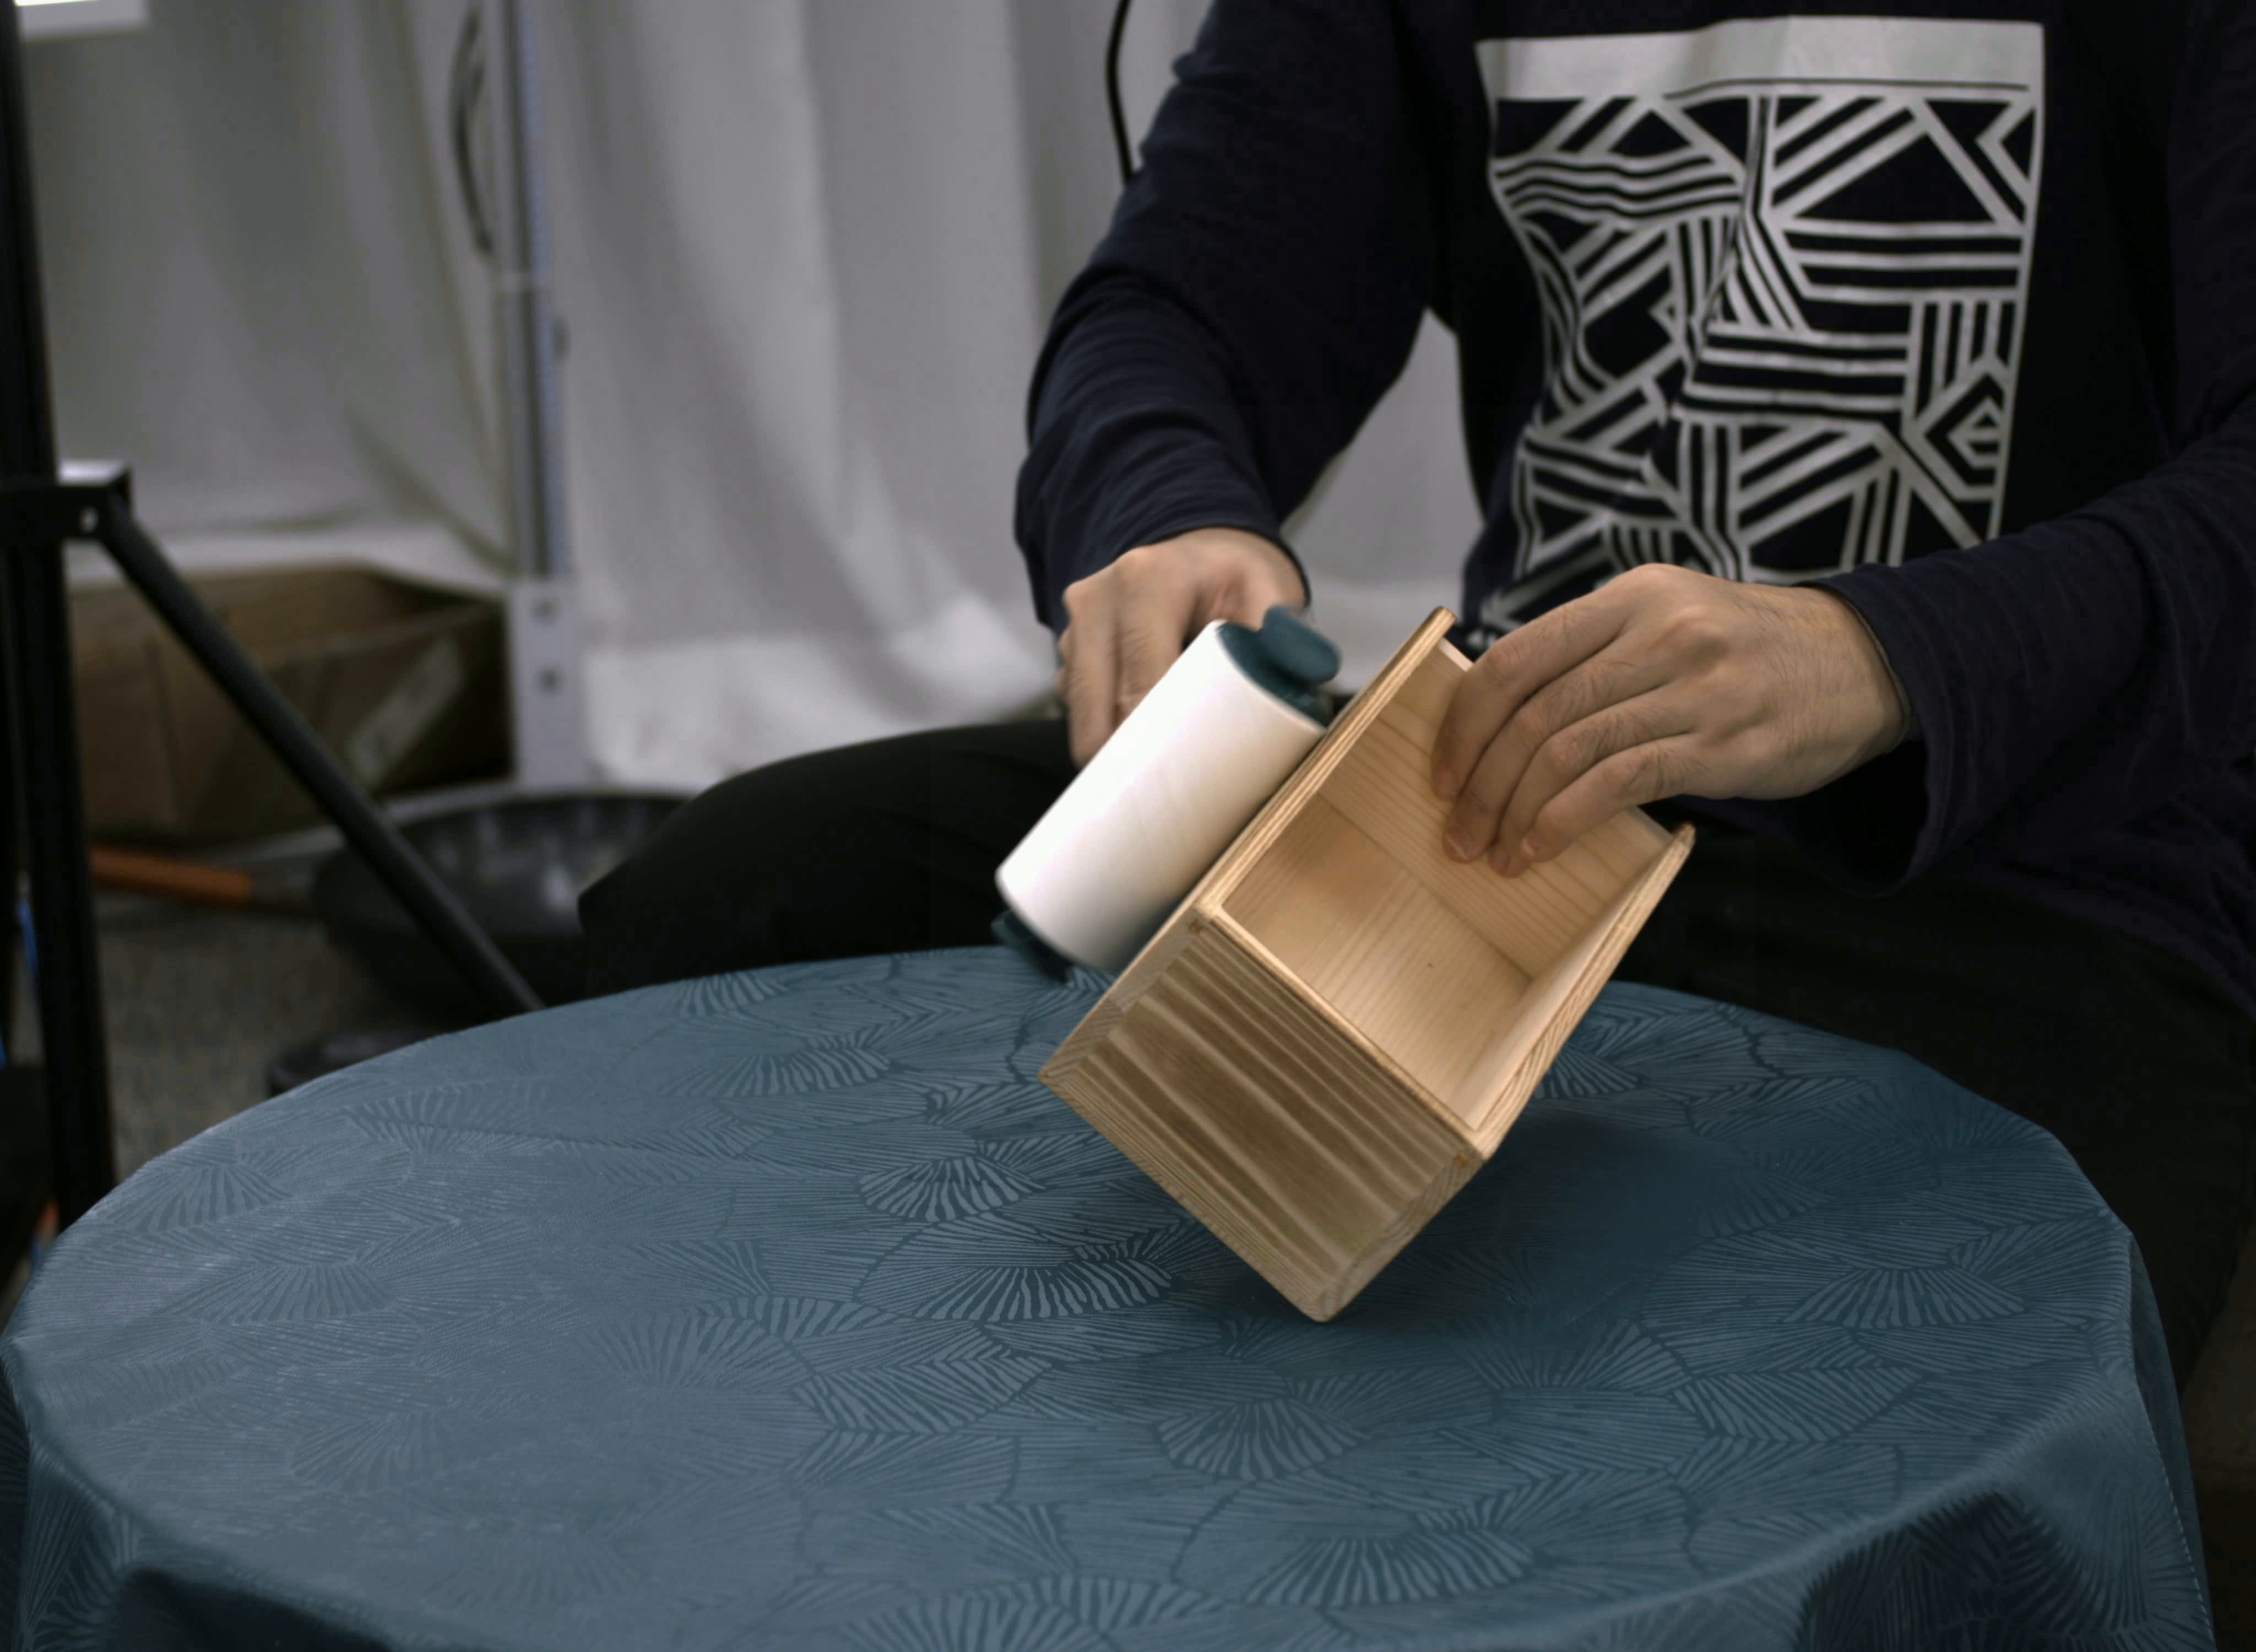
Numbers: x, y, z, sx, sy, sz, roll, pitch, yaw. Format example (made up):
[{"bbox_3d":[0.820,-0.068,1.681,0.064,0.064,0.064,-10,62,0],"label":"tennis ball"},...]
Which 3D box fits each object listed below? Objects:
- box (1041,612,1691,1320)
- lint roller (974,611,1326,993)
[{"bbox_3d":[0.071,0.036,1.516,0.107,0.081,0.209,40,32,1],"label":"box"},{"bbox_3d":[0.009,-0.027,1.610,0.048,0.135,0.180,39,16,-10],"label":"lint roller"}]
